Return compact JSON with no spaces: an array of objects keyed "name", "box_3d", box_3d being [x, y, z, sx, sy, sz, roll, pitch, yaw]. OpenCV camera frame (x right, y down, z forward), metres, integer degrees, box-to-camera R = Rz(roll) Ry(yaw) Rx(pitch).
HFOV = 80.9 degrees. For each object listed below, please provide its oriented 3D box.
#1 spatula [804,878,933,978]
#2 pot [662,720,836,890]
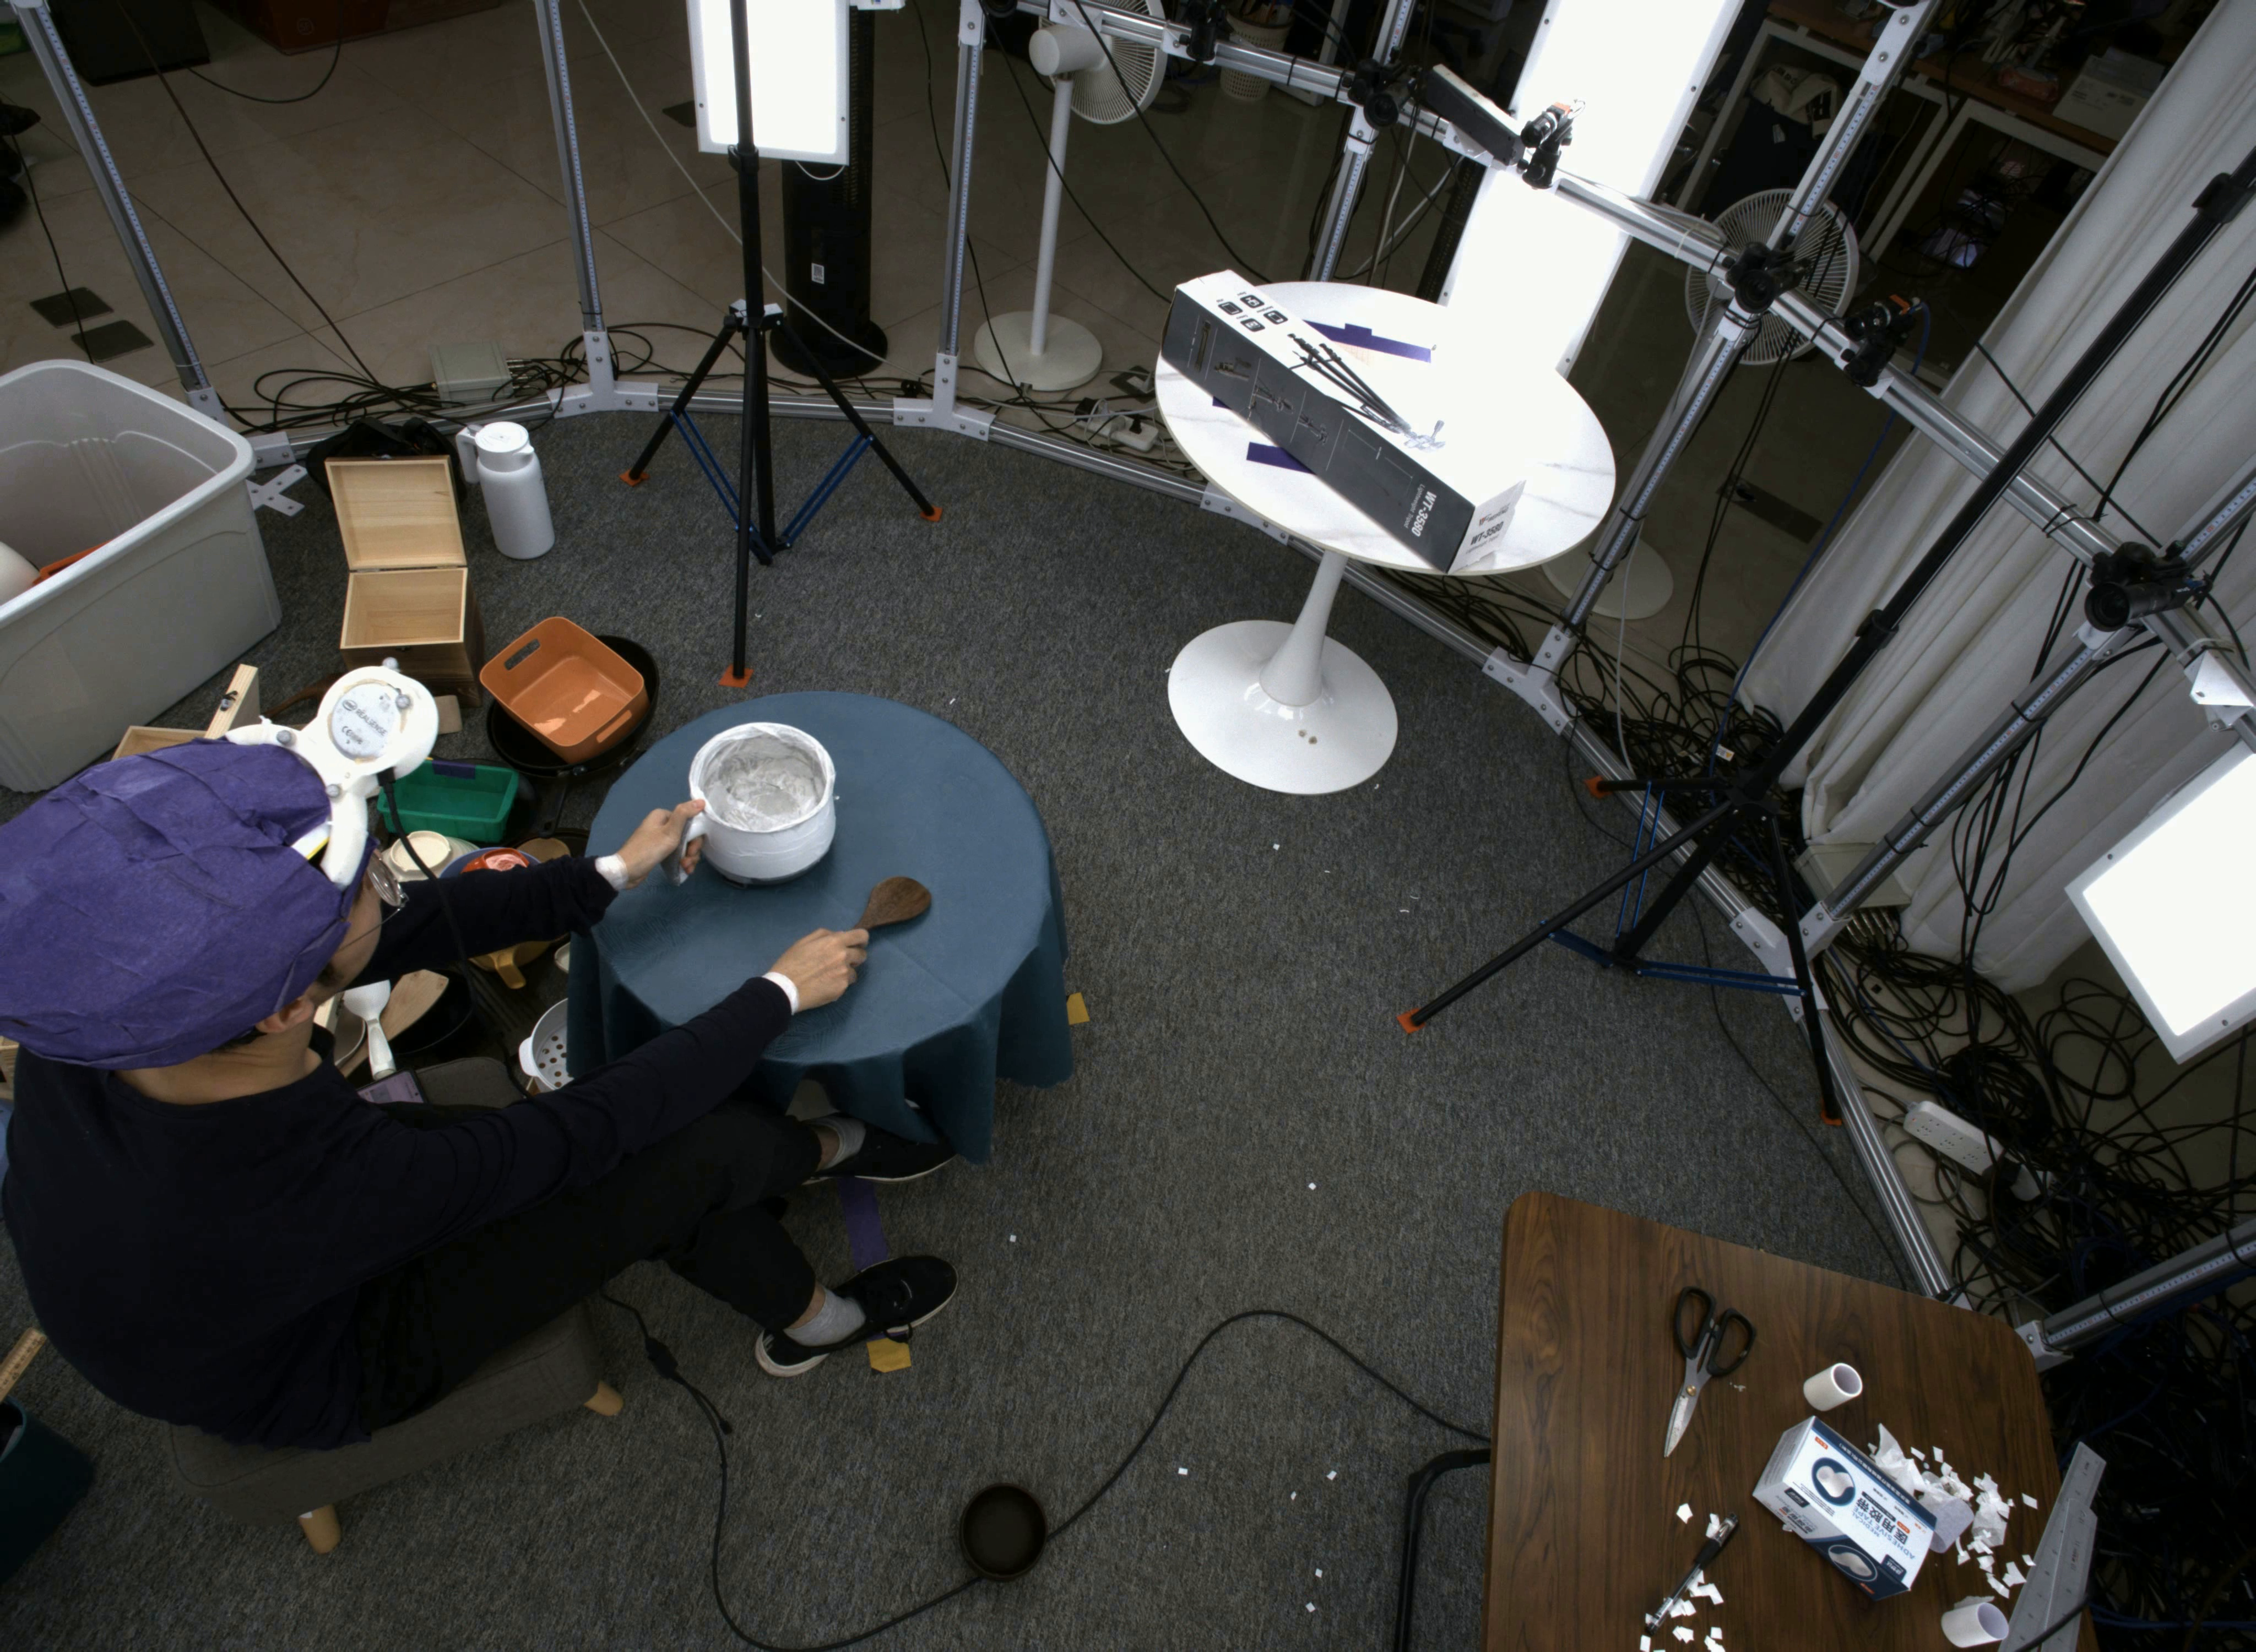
[{"name":"spatula","box_3d":[-0.333,0.126,1.642,0.070,0.009,0.216,32,45,18]},{"name":"pot","box_3d":[-0.484,-0.014,1.639,0.234,0.140,0.174,-32,63,-33]}]
